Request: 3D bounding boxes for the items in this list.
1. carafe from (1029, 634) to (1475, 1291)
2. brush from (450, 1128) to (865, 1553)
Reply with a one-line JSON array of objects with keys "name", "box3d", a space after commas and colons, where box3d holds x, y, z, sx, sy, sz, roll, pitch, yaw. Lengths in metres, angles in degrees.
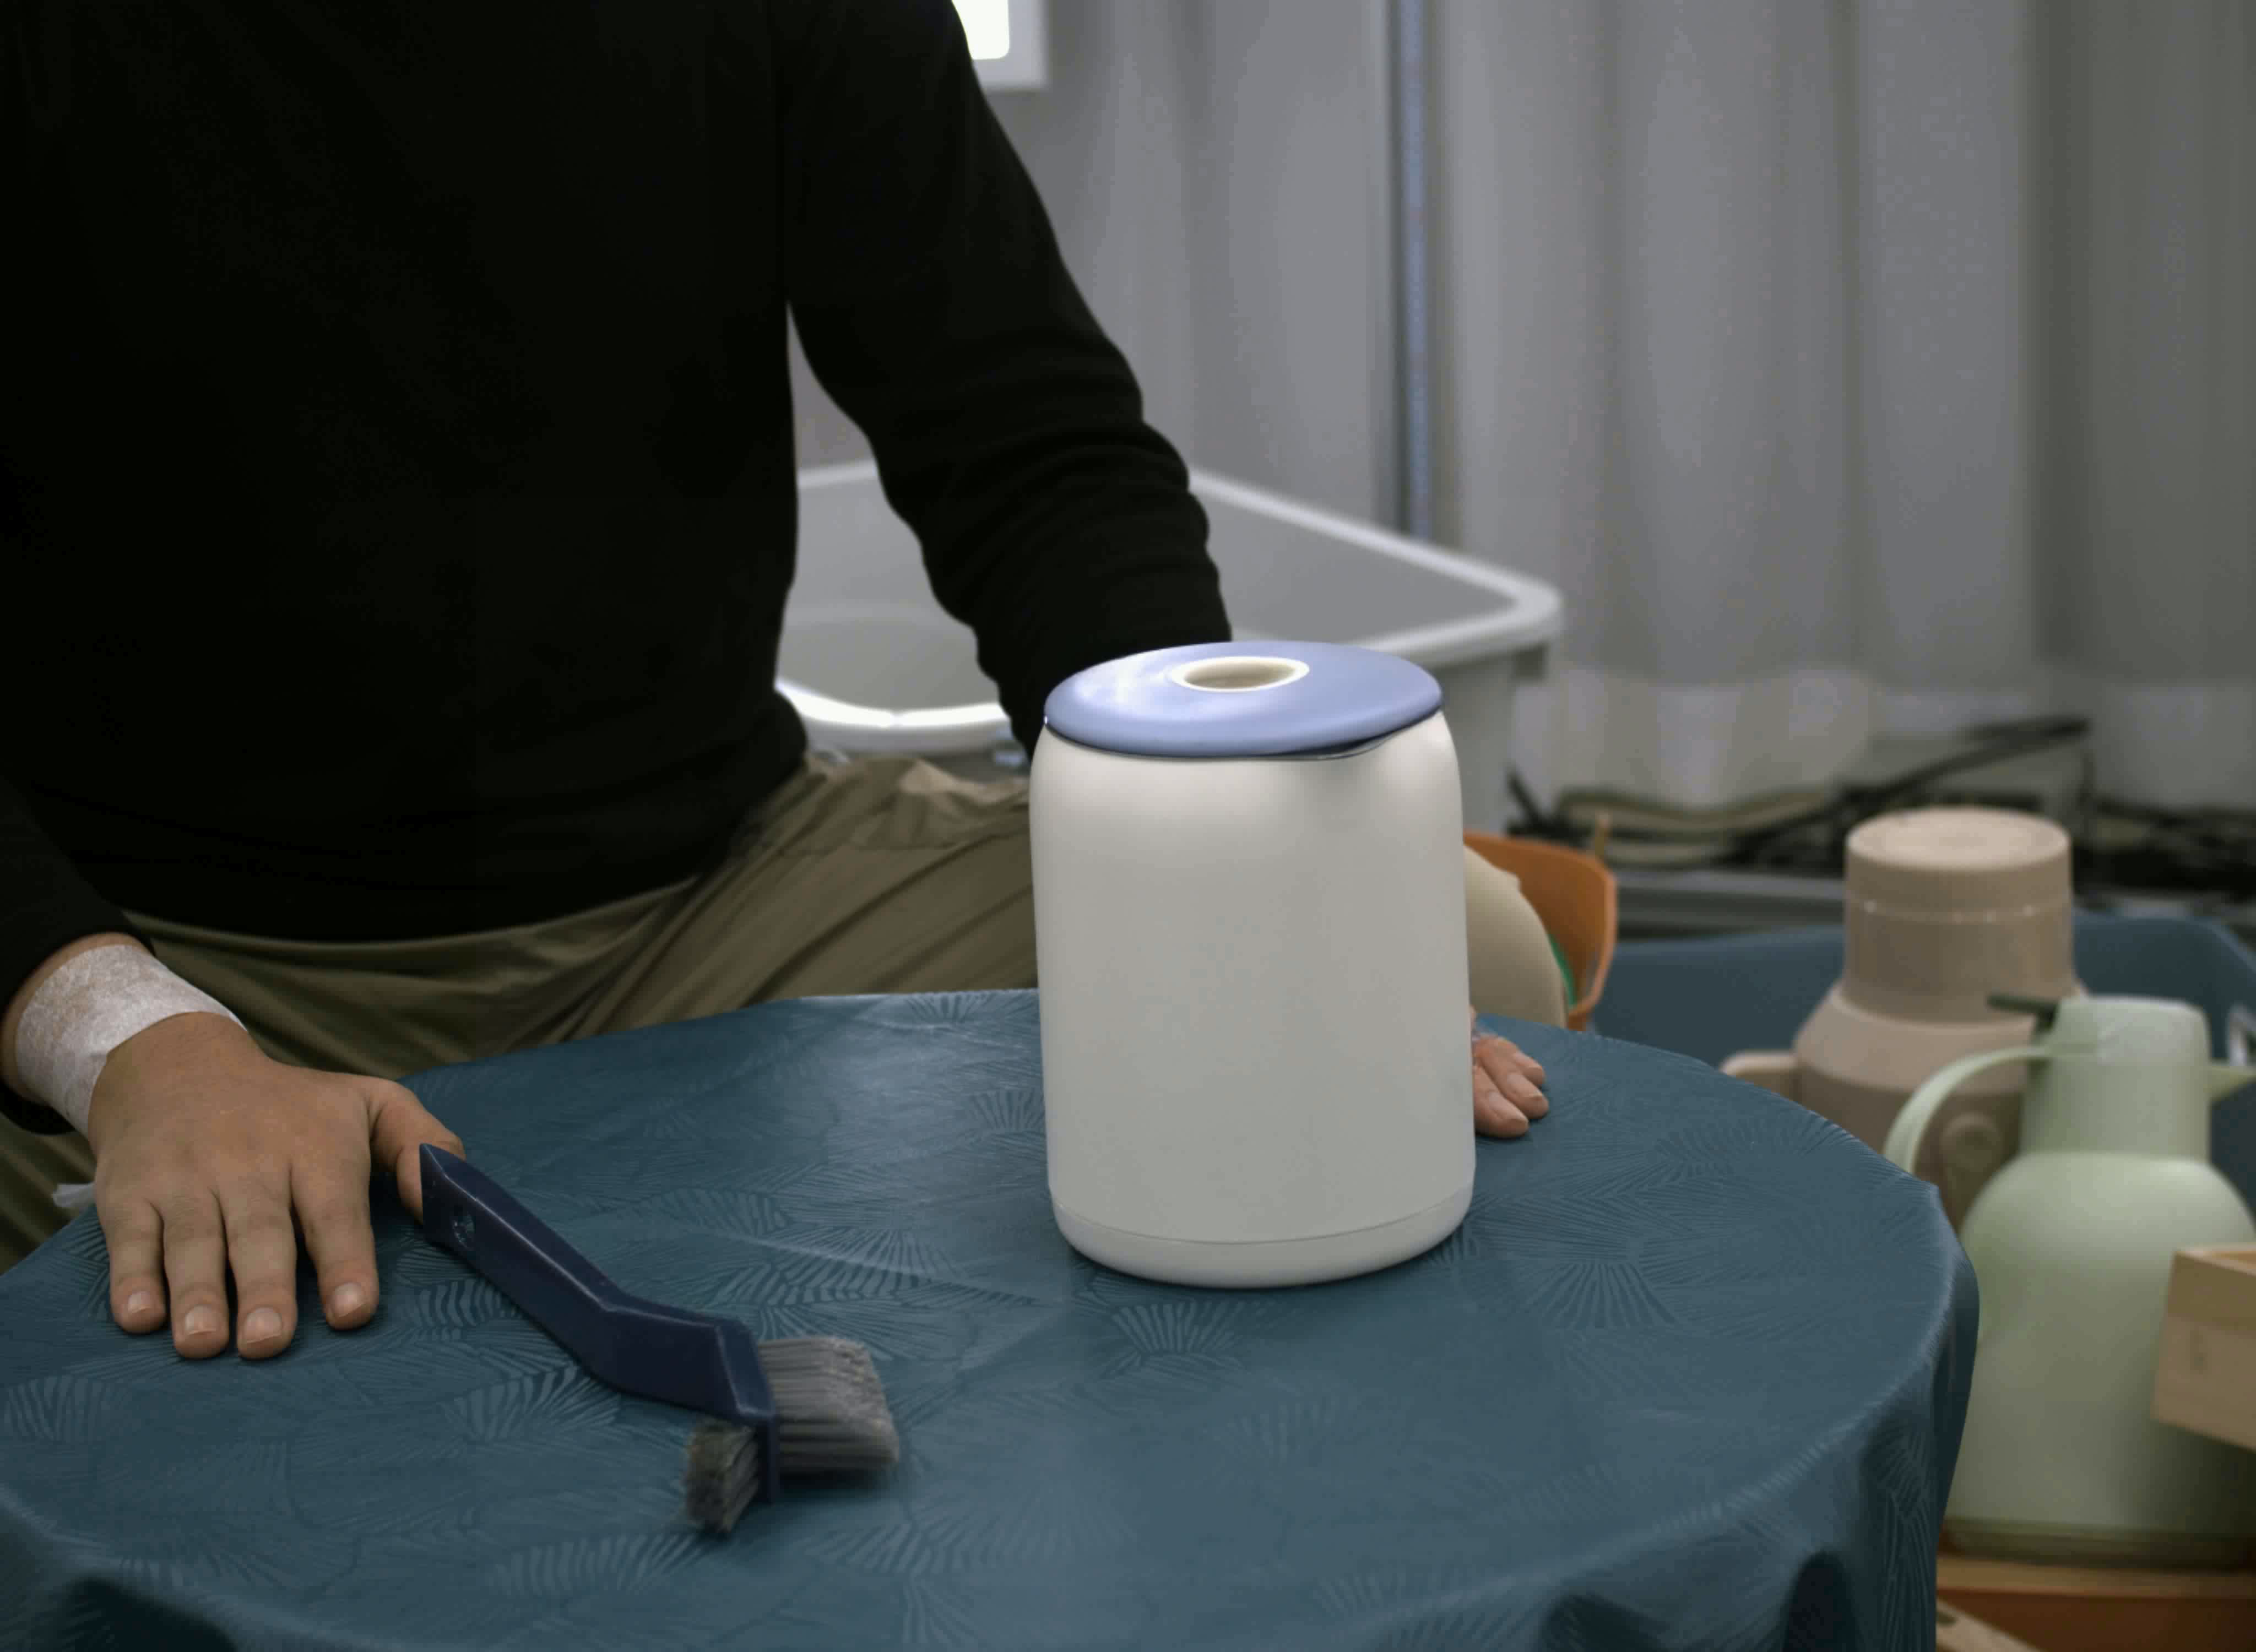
[{"name": "carafe", "box3d": [0.026, 0.035, 1.677, 0.131, 0.182, 0.192, -9, 14, -26]}, {"name": "brush", "box3d": [-0.158, 0.144, 1.578, 0.095, 0.033, 0.275, -15, 20, -30]}]
